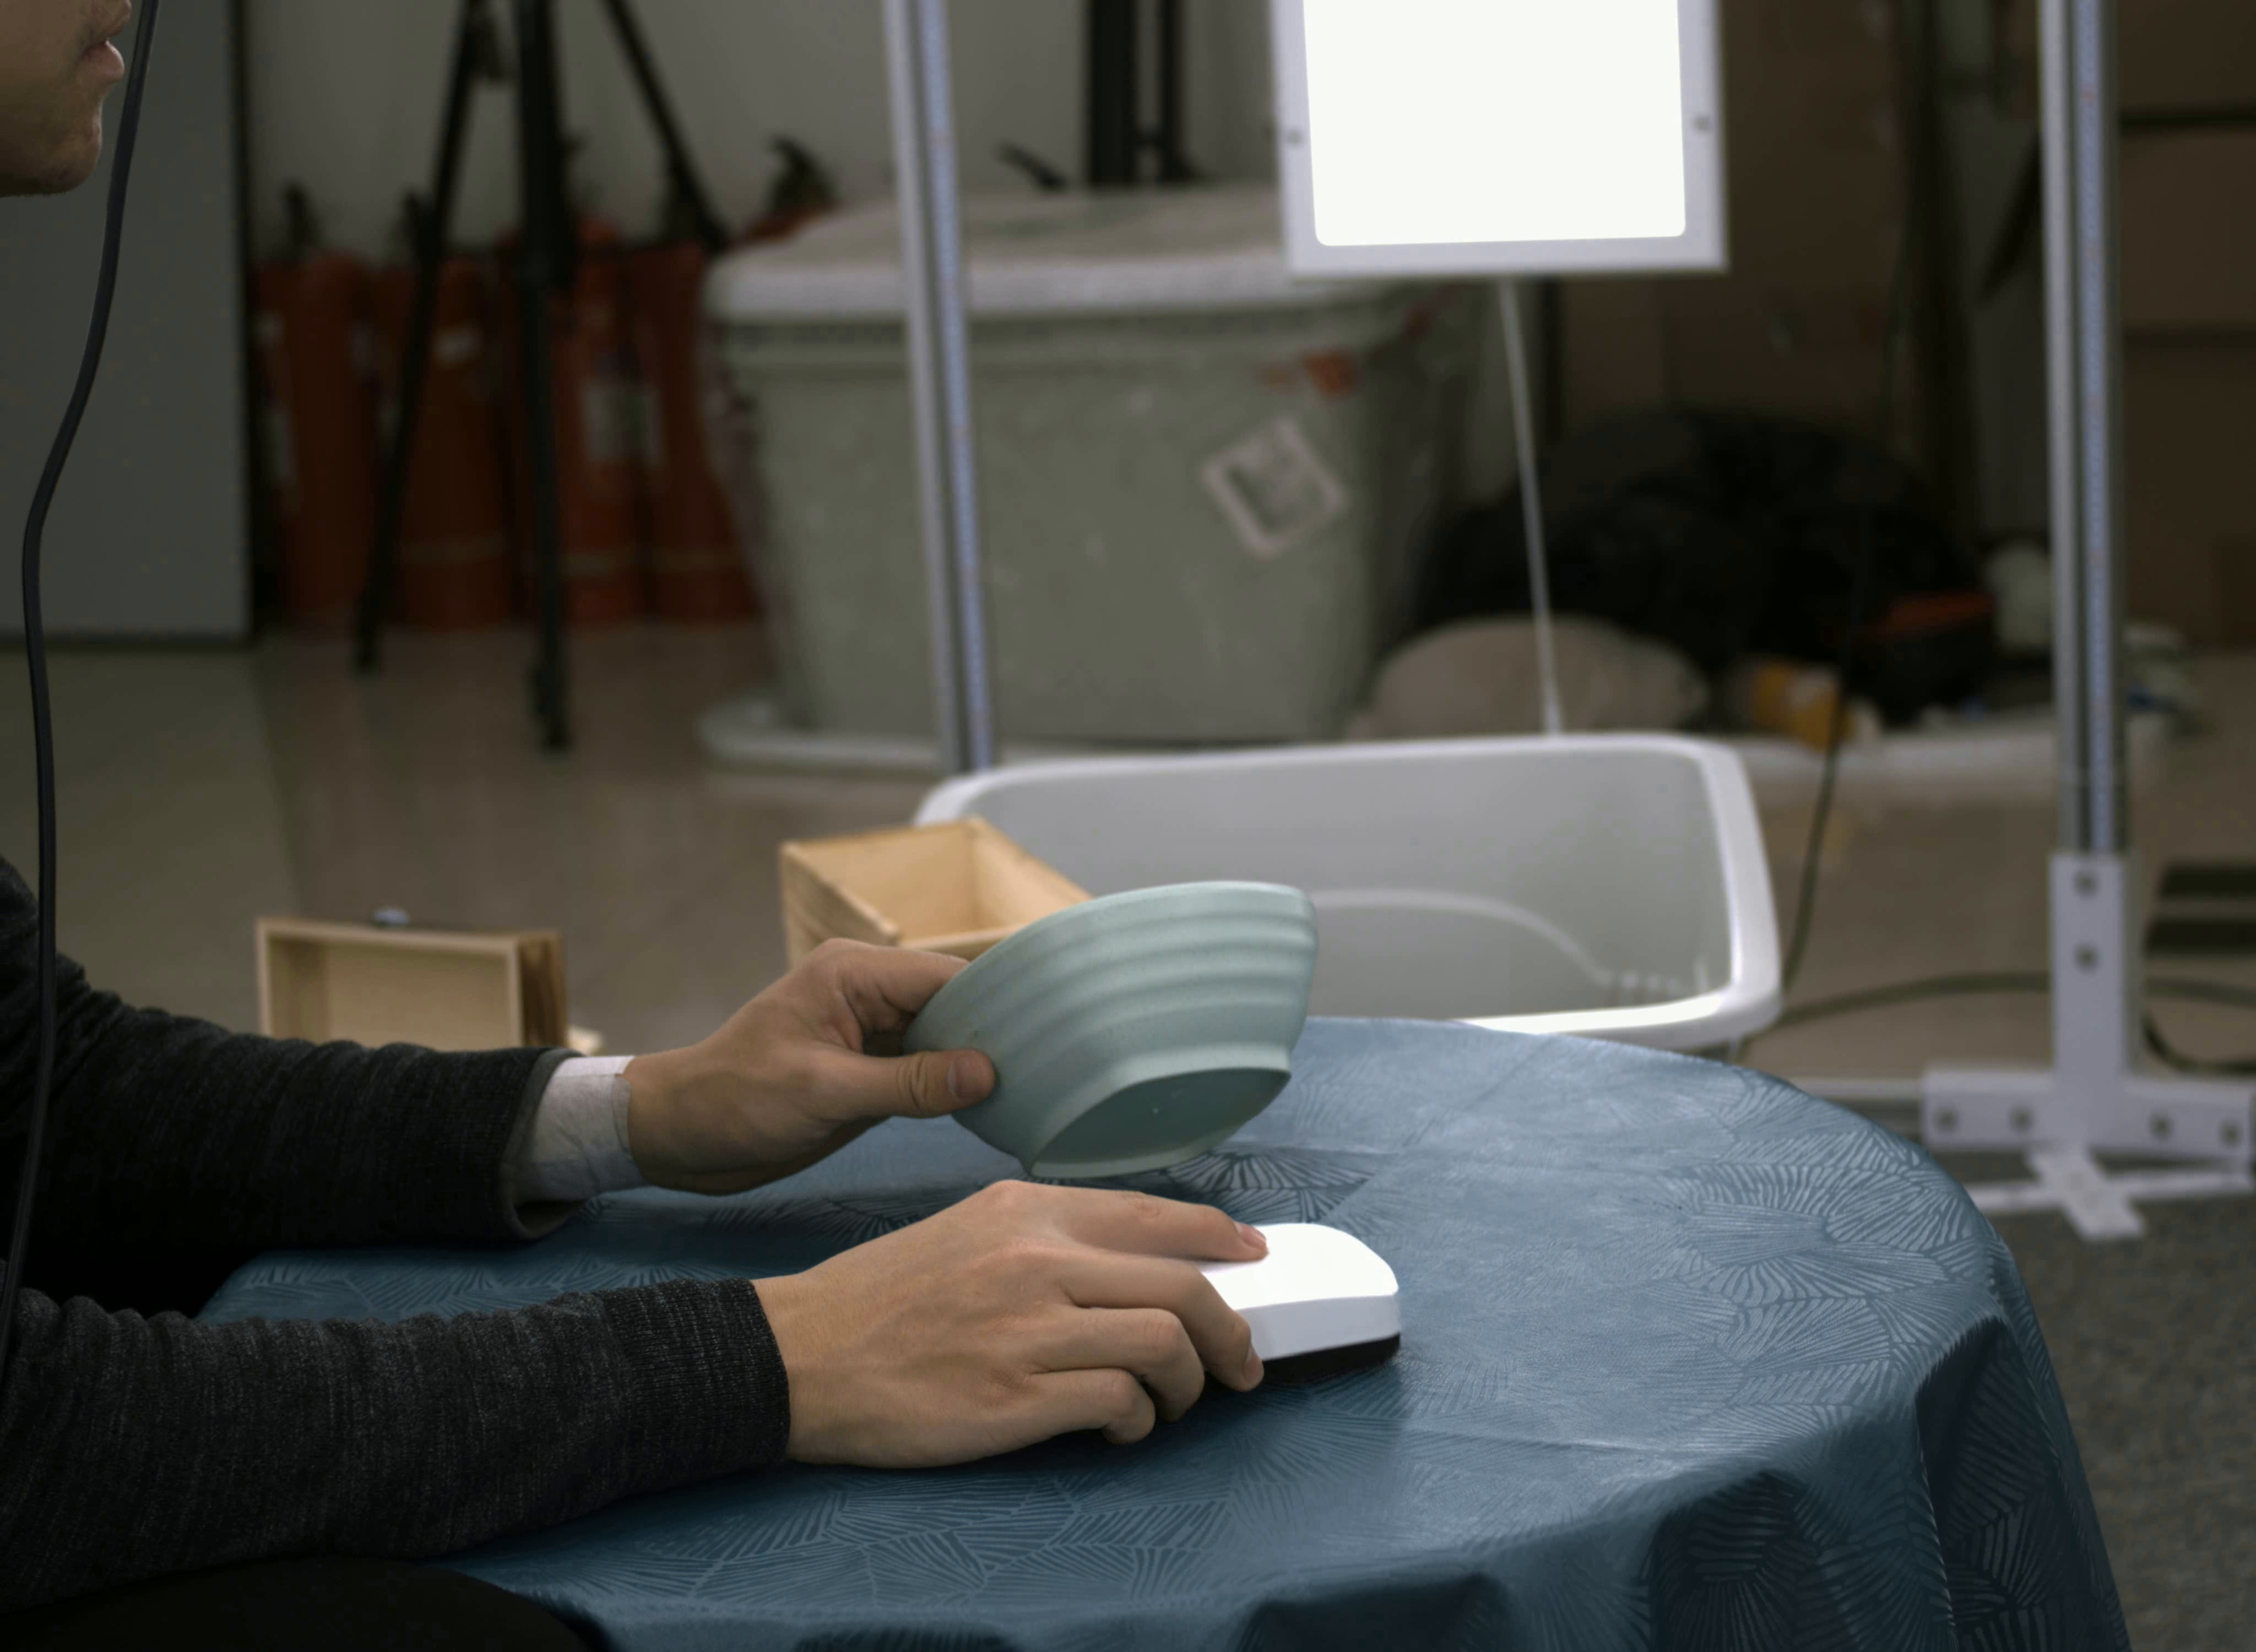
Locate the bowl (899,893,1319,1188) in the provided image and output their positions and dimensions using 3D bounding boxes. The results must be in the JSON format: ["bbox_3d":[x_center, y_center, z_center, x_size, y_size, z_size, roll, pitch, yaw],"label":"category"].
[{"bbox_3d":[0.001,0.079,1.879,0.150,0.059,0.152,-14,-23,-7],"label":"bowl"}]

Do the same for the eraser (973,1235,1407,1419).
[{"bbox_3d":[0.019,0.152,1.699,0.129,0.035,0.064,-6,18,-19],"label":"eraser"}]
